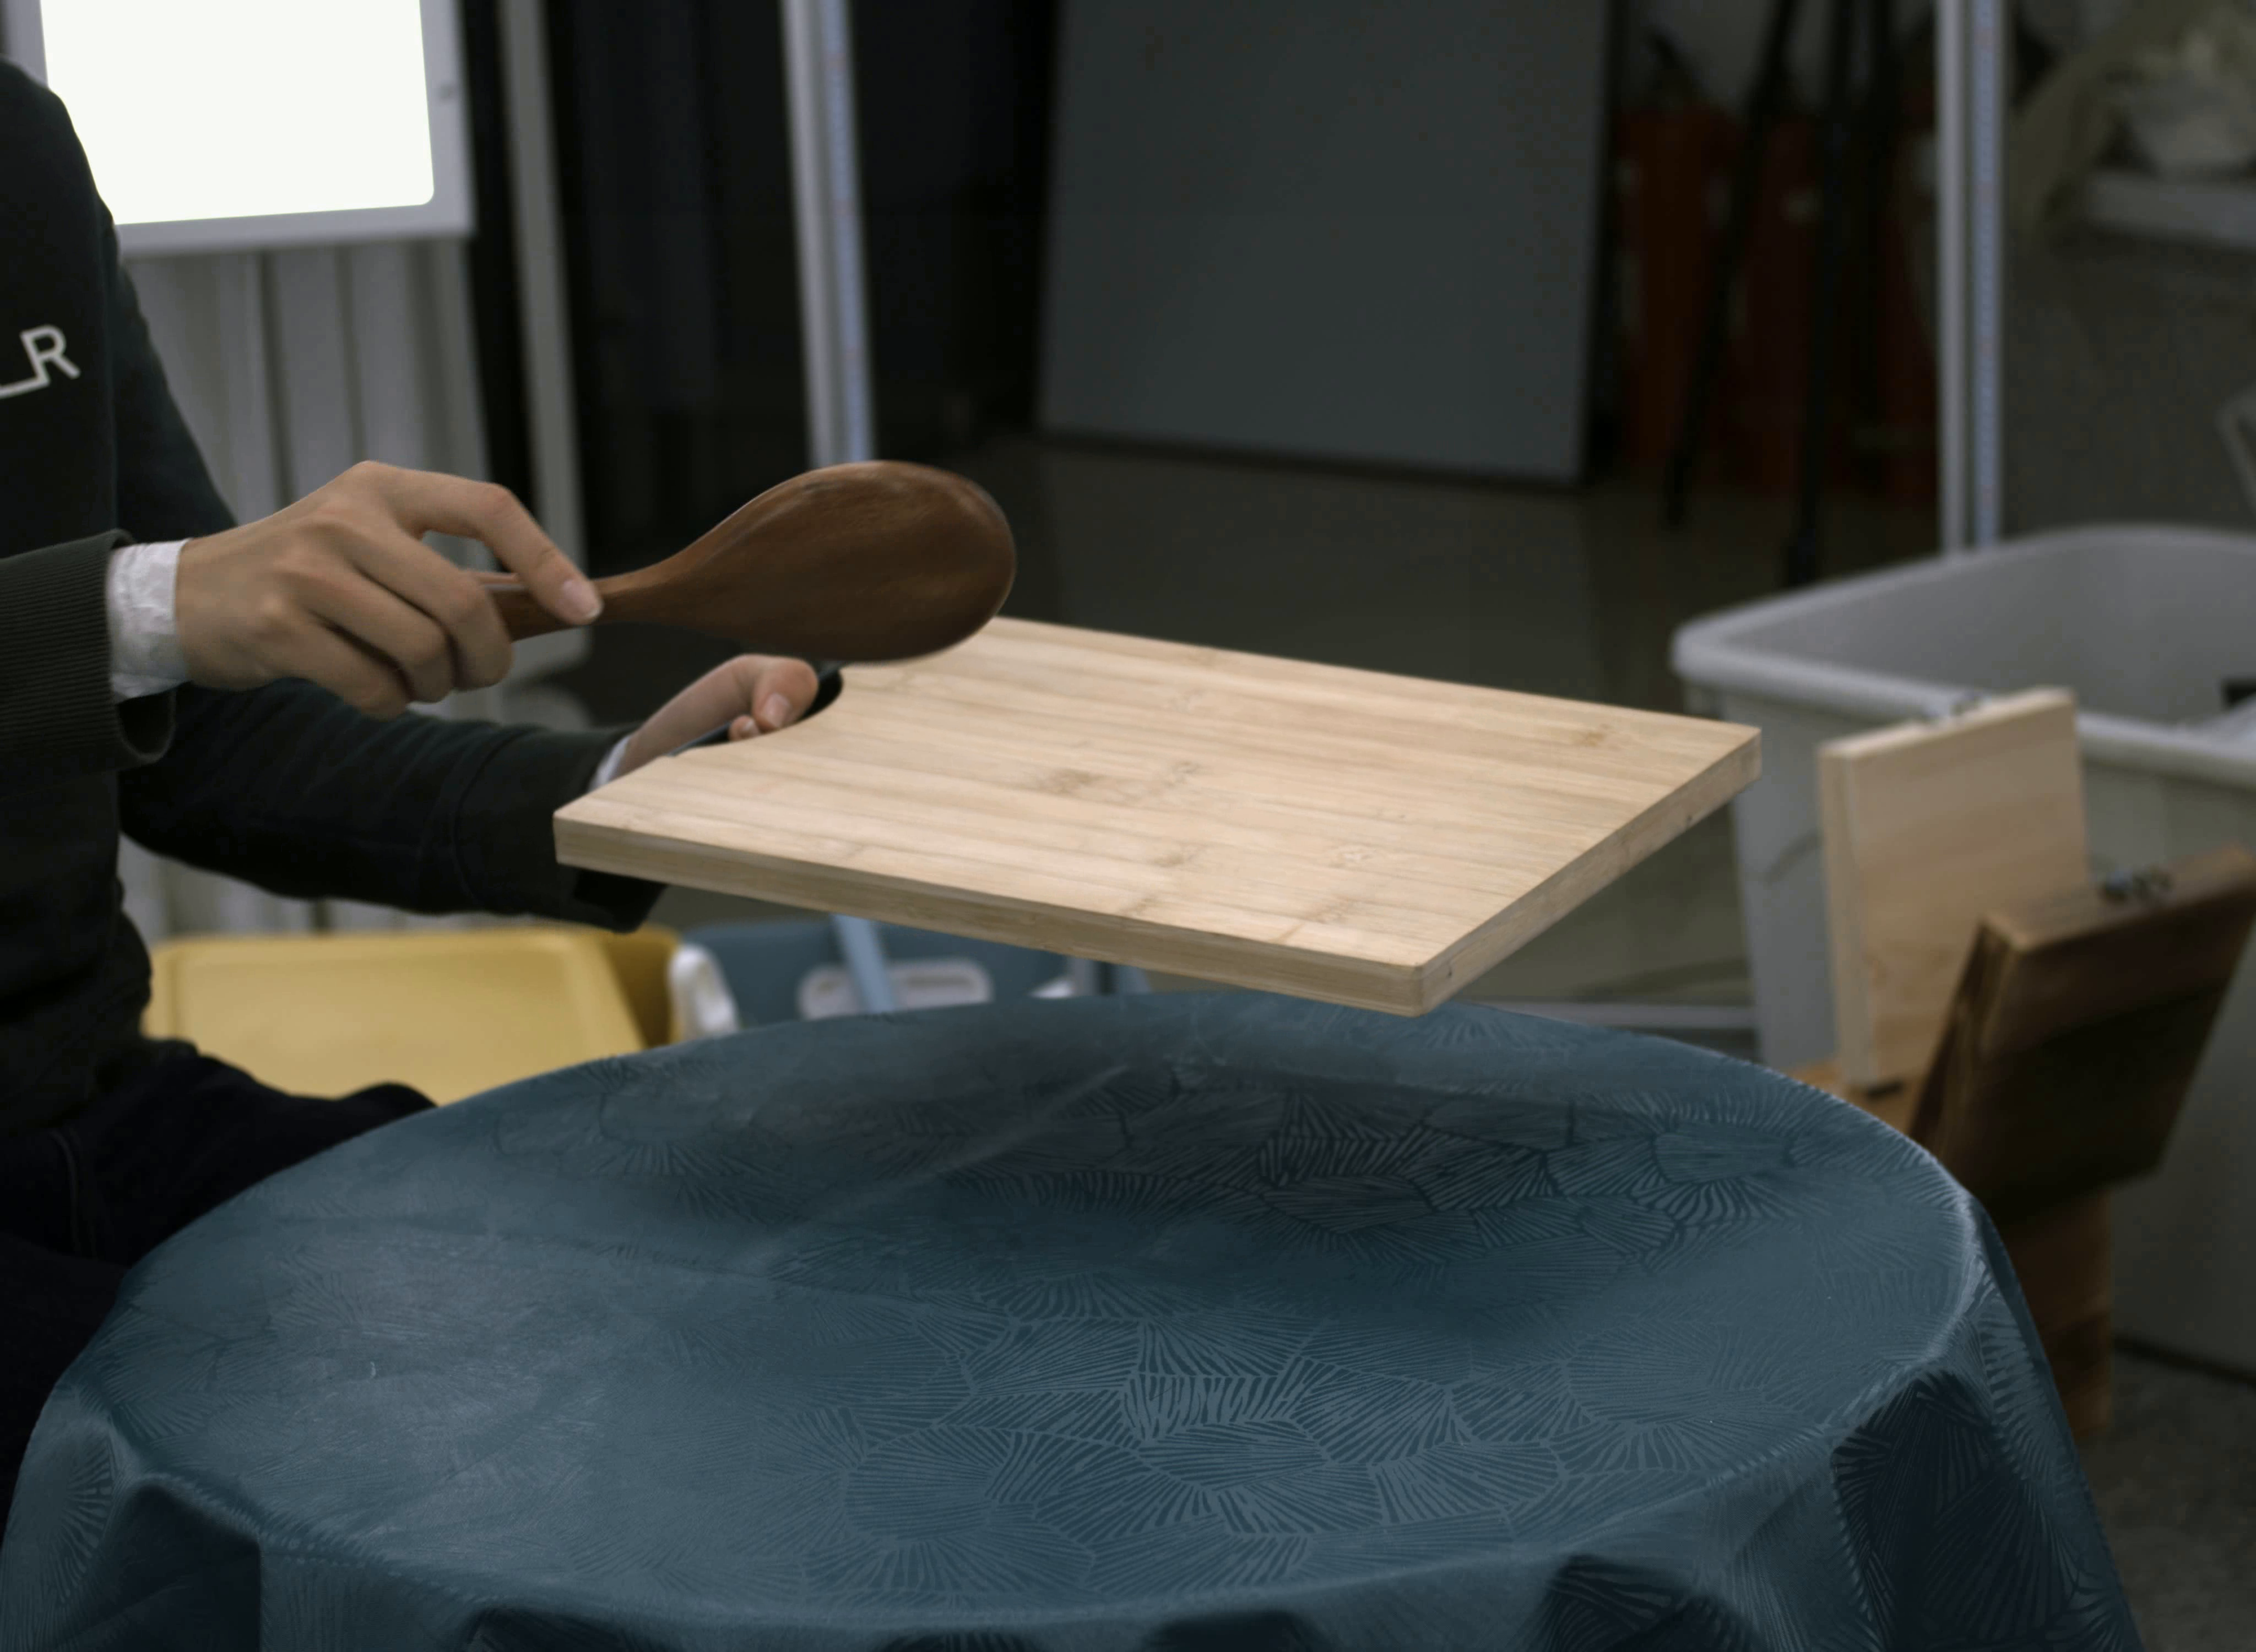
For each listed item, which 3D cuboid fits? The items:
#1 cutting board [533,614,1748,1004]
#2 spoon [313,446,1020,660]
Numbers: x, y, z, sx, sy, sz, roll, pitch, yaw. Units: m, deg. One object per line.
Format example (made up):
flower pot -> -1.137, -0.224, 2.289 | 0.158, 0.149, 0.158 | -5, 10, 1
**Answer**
cutting board -> 0.005, -0.011, 1.825 | 0.350, 0.024, 0.247 | 8, 23, 32
spoon -> -0.137, -0.073, 1.607 | 0.214, 0.075, 0.017 | -7, 46, 8
